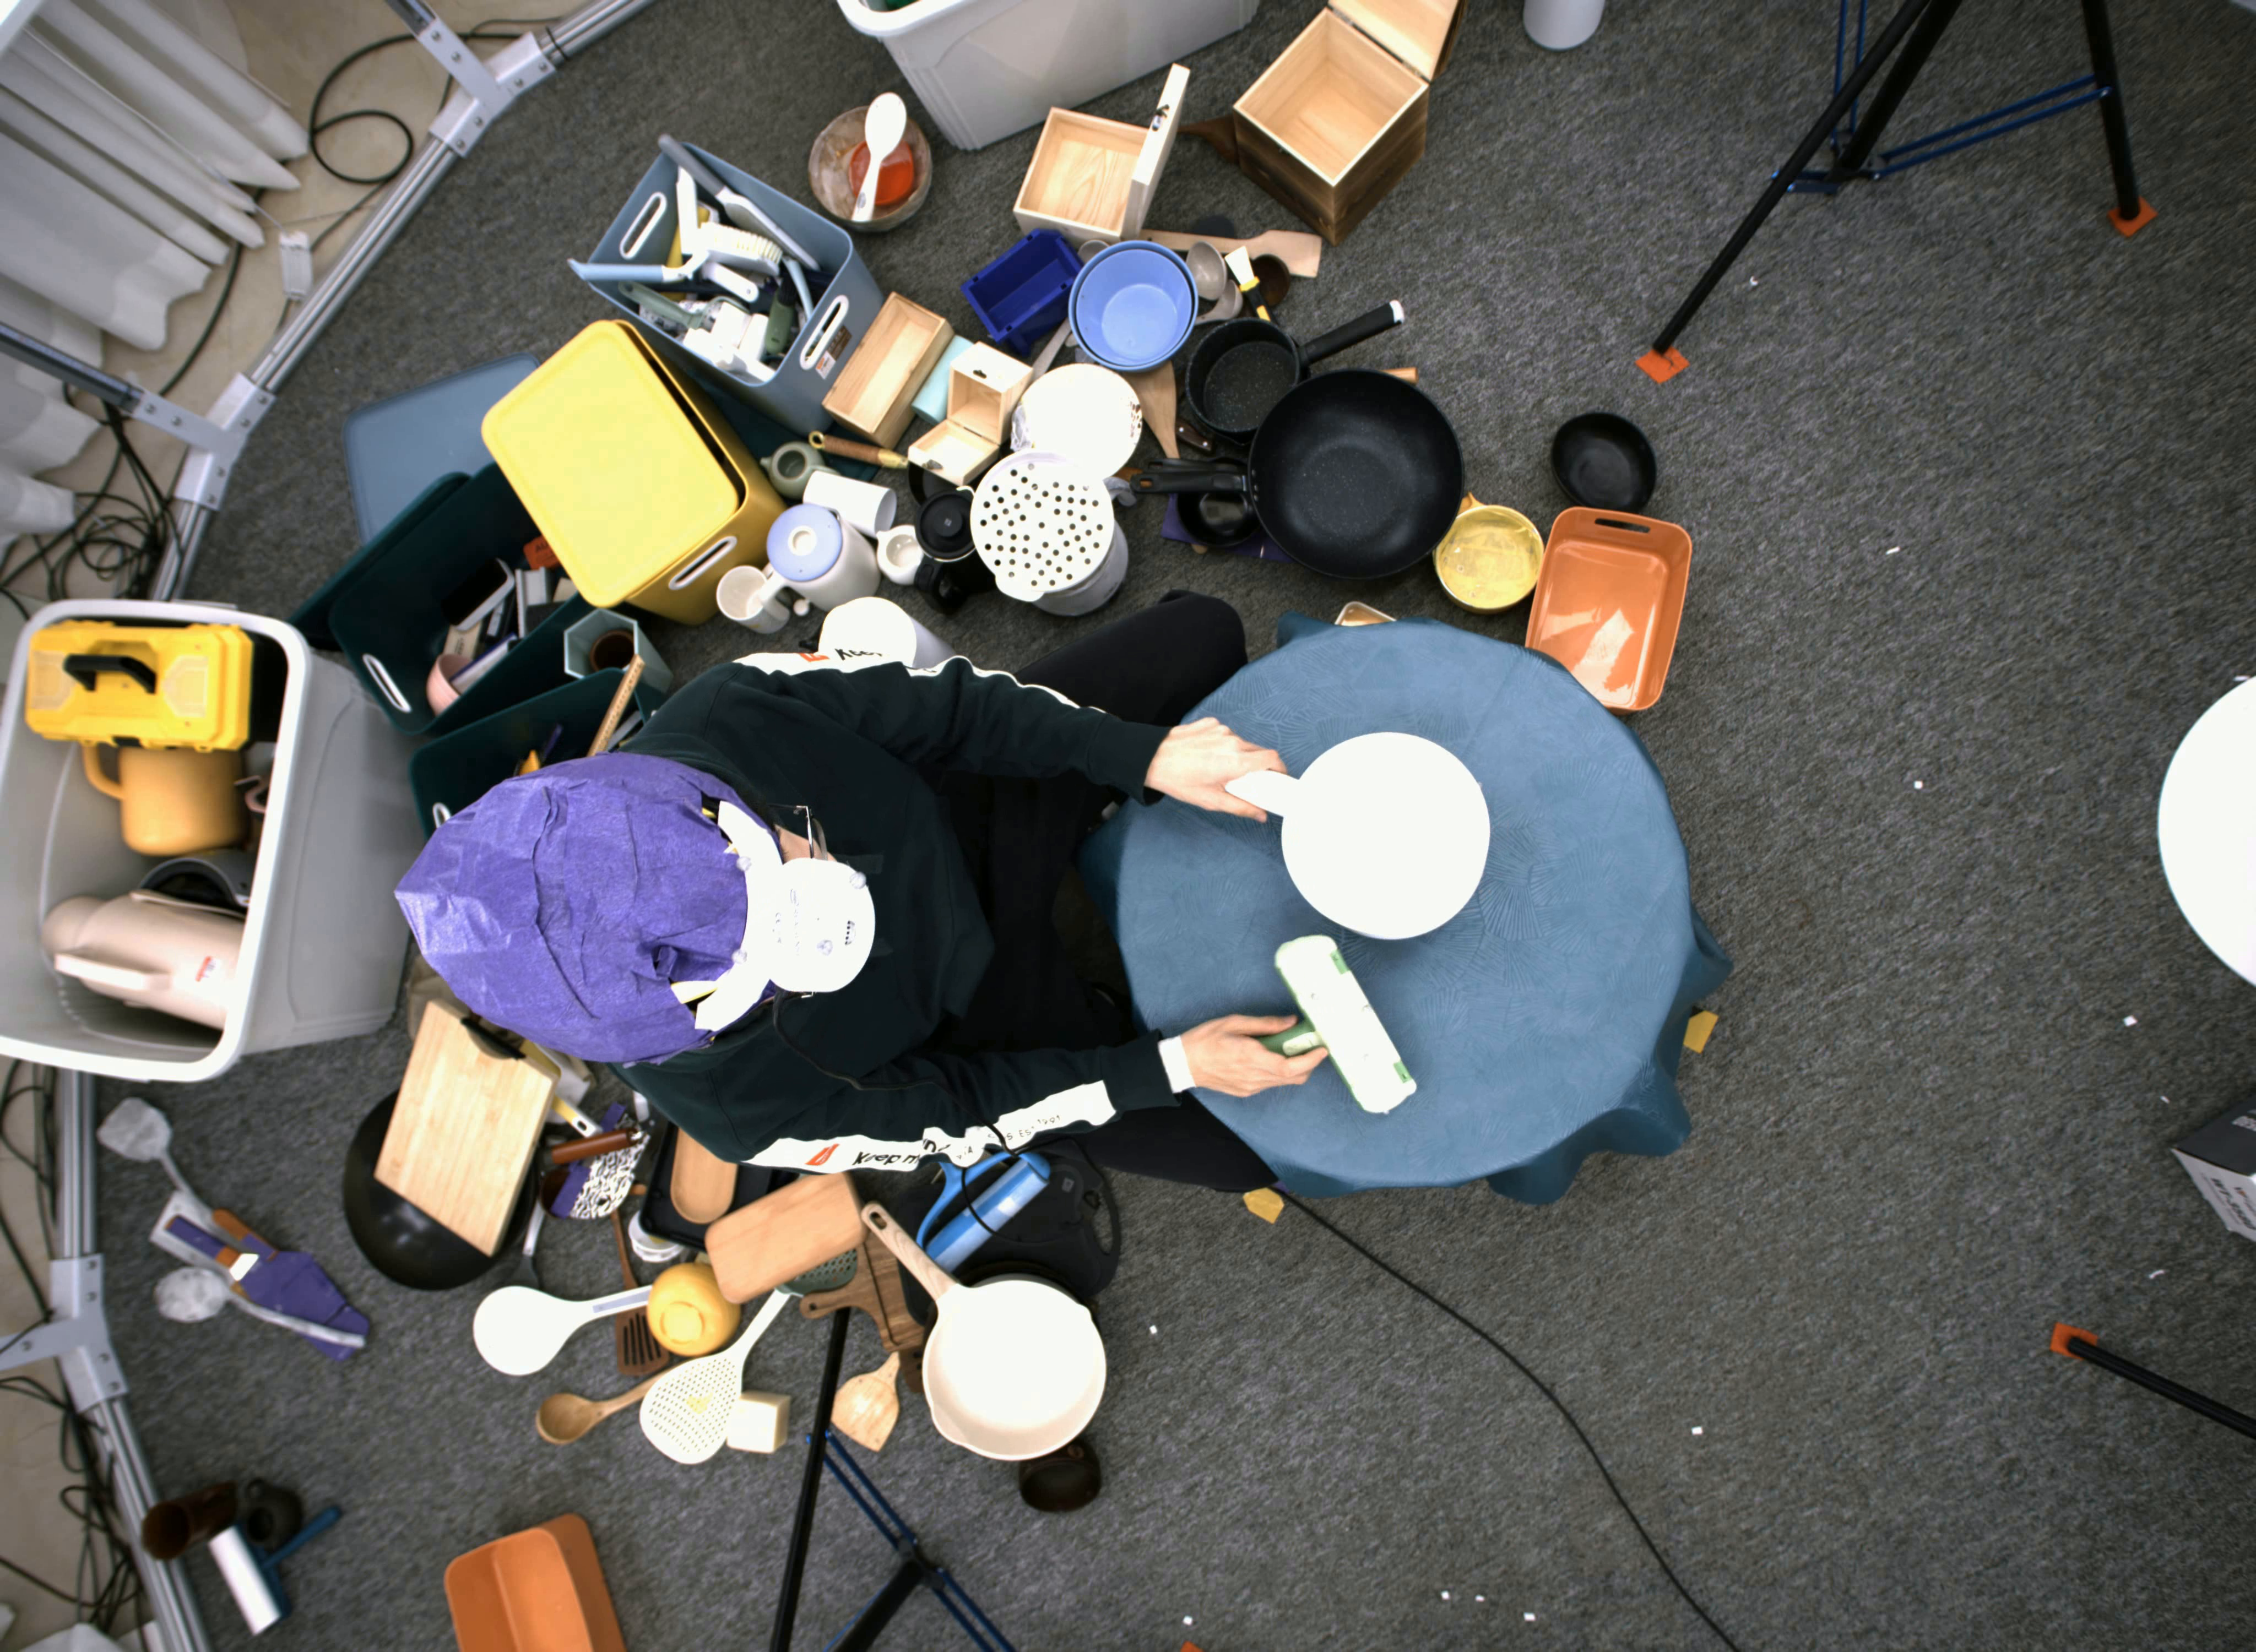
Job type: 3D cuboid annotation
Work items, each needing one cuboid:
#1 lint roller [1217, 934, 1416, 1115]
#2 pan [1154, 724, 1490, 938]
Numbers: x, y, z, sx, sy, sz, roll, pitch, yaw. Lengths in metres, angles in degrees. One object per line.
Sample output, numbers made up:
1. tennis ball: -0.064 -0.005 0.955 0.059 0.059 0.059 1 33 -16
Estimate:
1. lint roller: 0.170 0.226 1.407 0.185 0.081 0.200 -27 103 16
2. pan: 0.198 -0.015 1.420 0.354 0.102 0.201 23 88 19
